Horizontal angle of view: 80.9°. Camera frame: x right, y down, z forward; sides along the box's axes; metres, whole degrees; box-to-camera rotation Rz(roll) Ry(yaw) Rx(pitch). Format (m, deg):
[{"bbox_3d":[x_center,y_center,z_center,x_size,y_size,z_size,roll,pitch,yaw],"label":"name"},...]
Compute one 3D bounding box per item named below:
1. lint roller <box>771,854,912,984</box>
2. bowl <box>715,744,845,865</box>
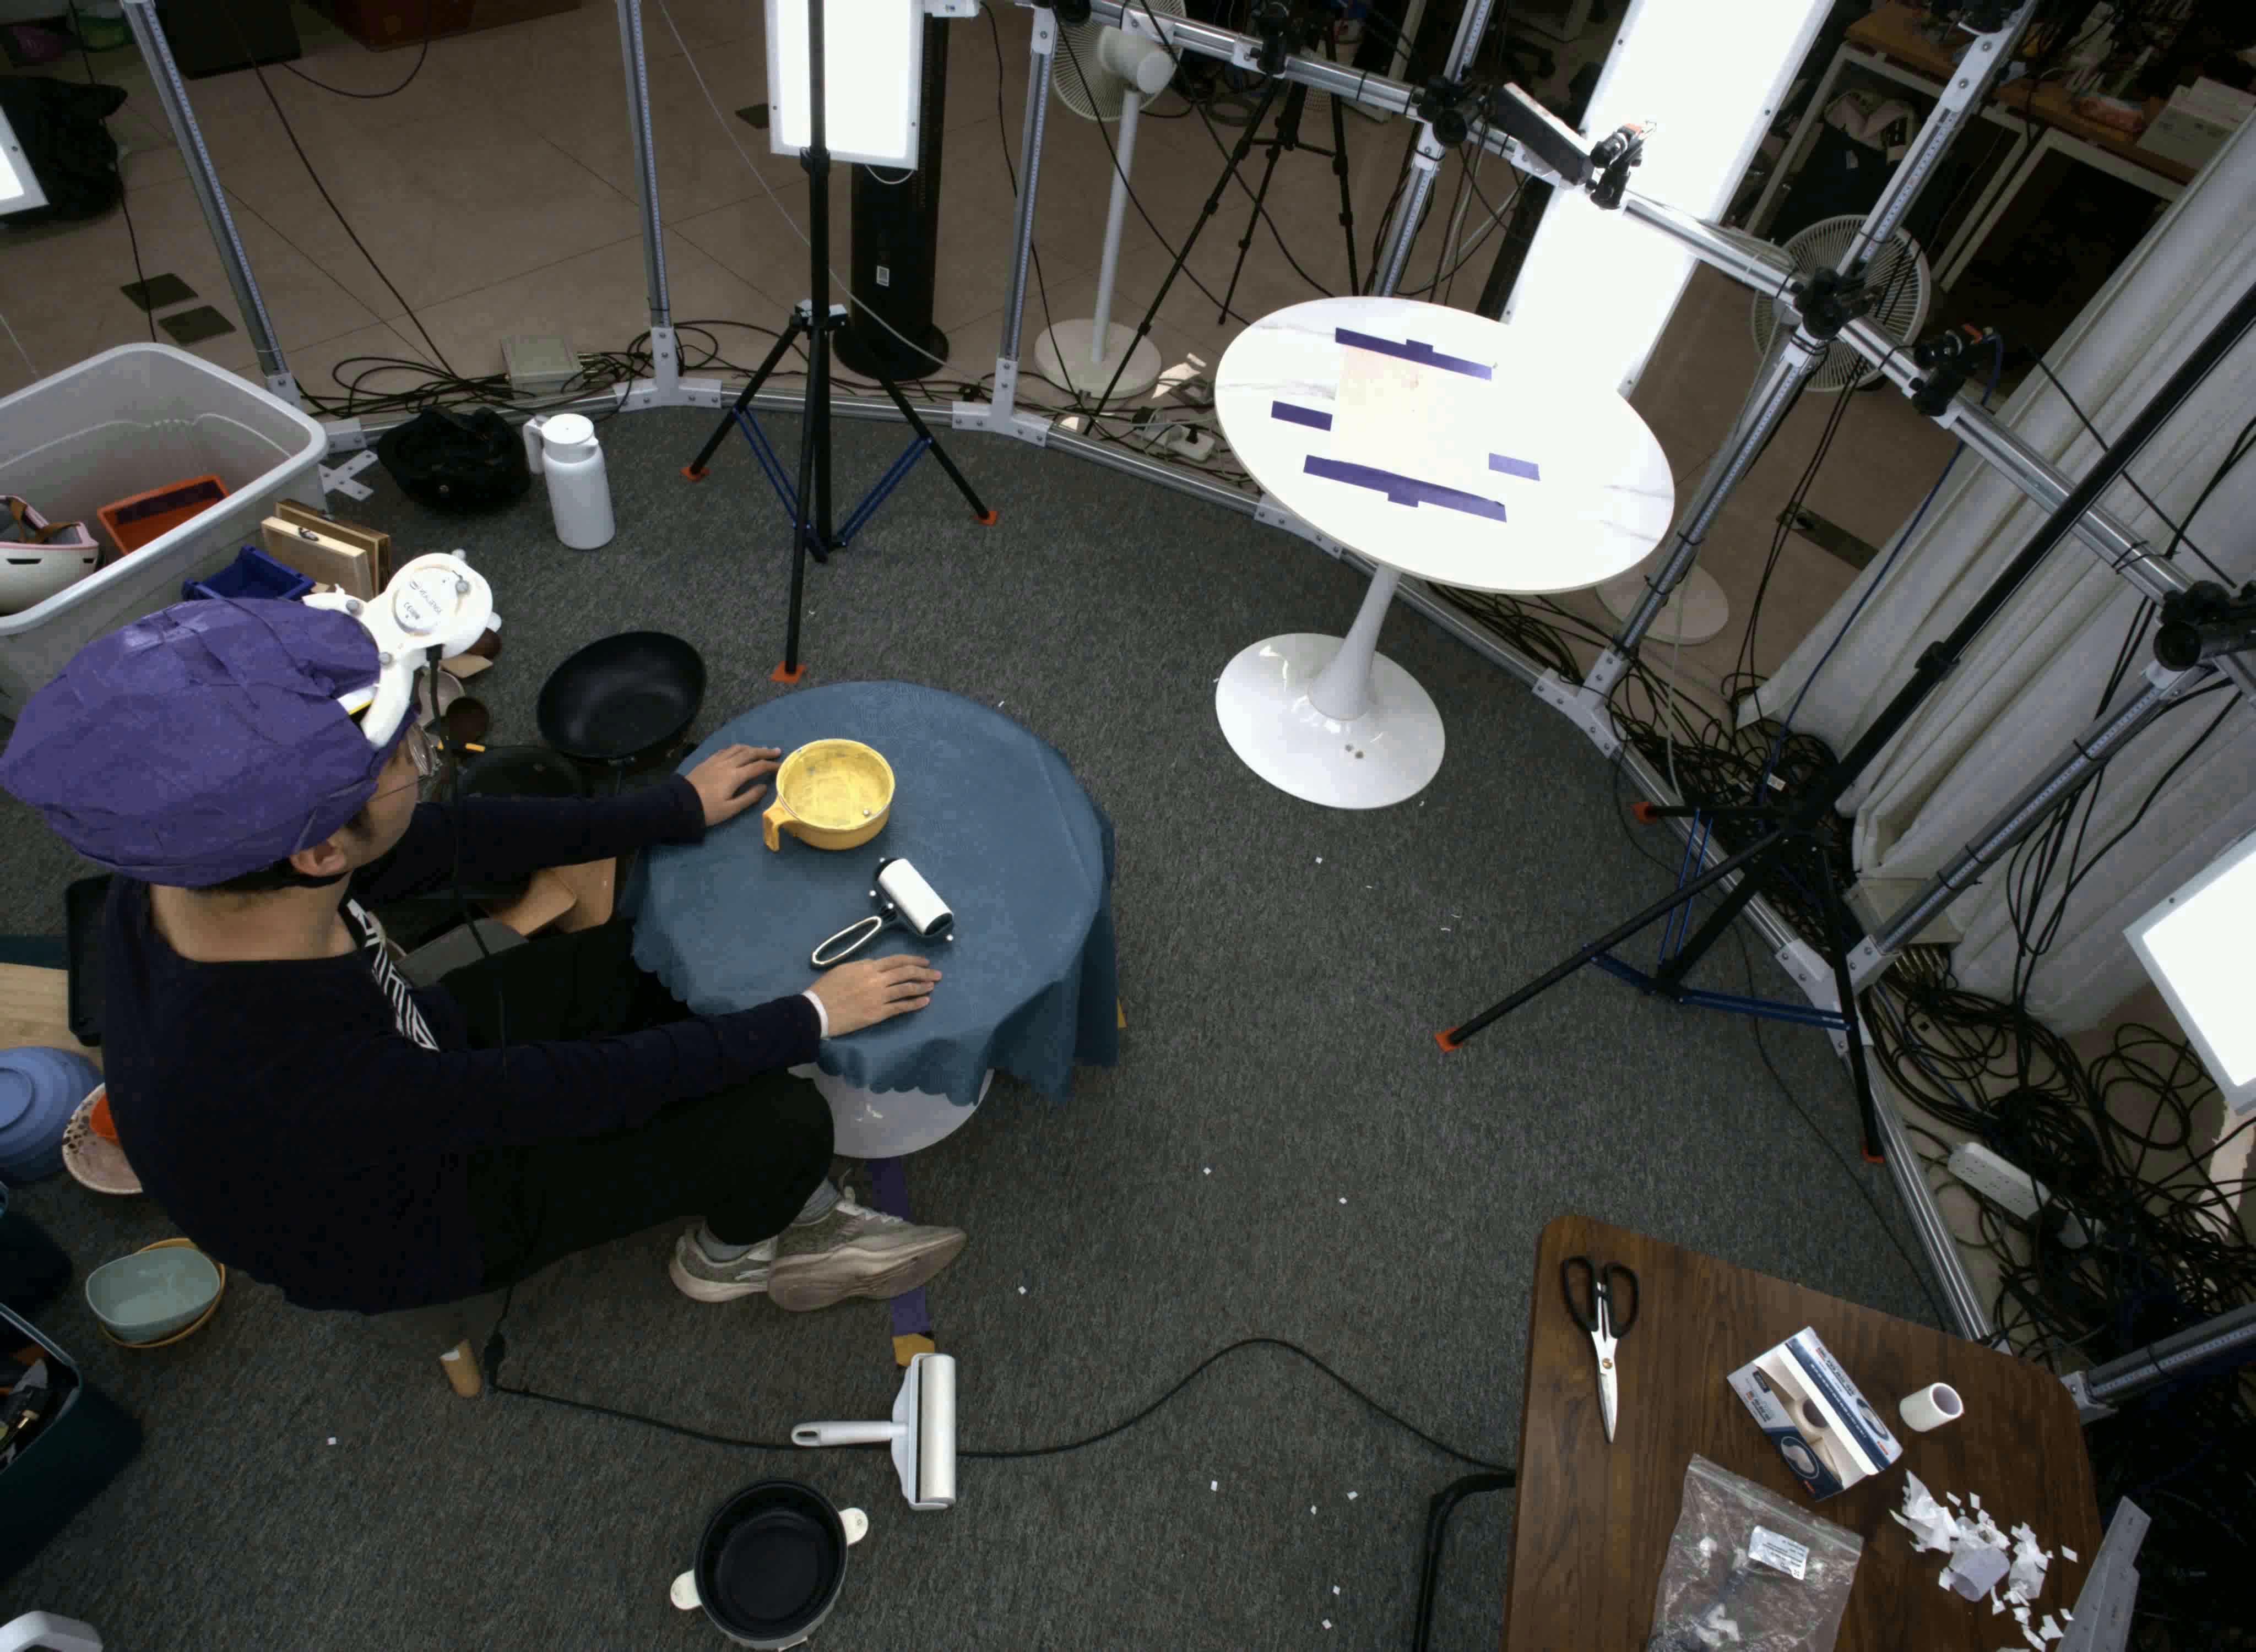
[{"bbox_3d":[-0.374,0.129,1.628,0.180,0.049,0.131,-36,70,-28],"label":"lint roller"},{"bbox_3d":[-0.460,-0.024,1.702,0.150,0.076,0.179,39,55,14],"label":"bowl"}]
